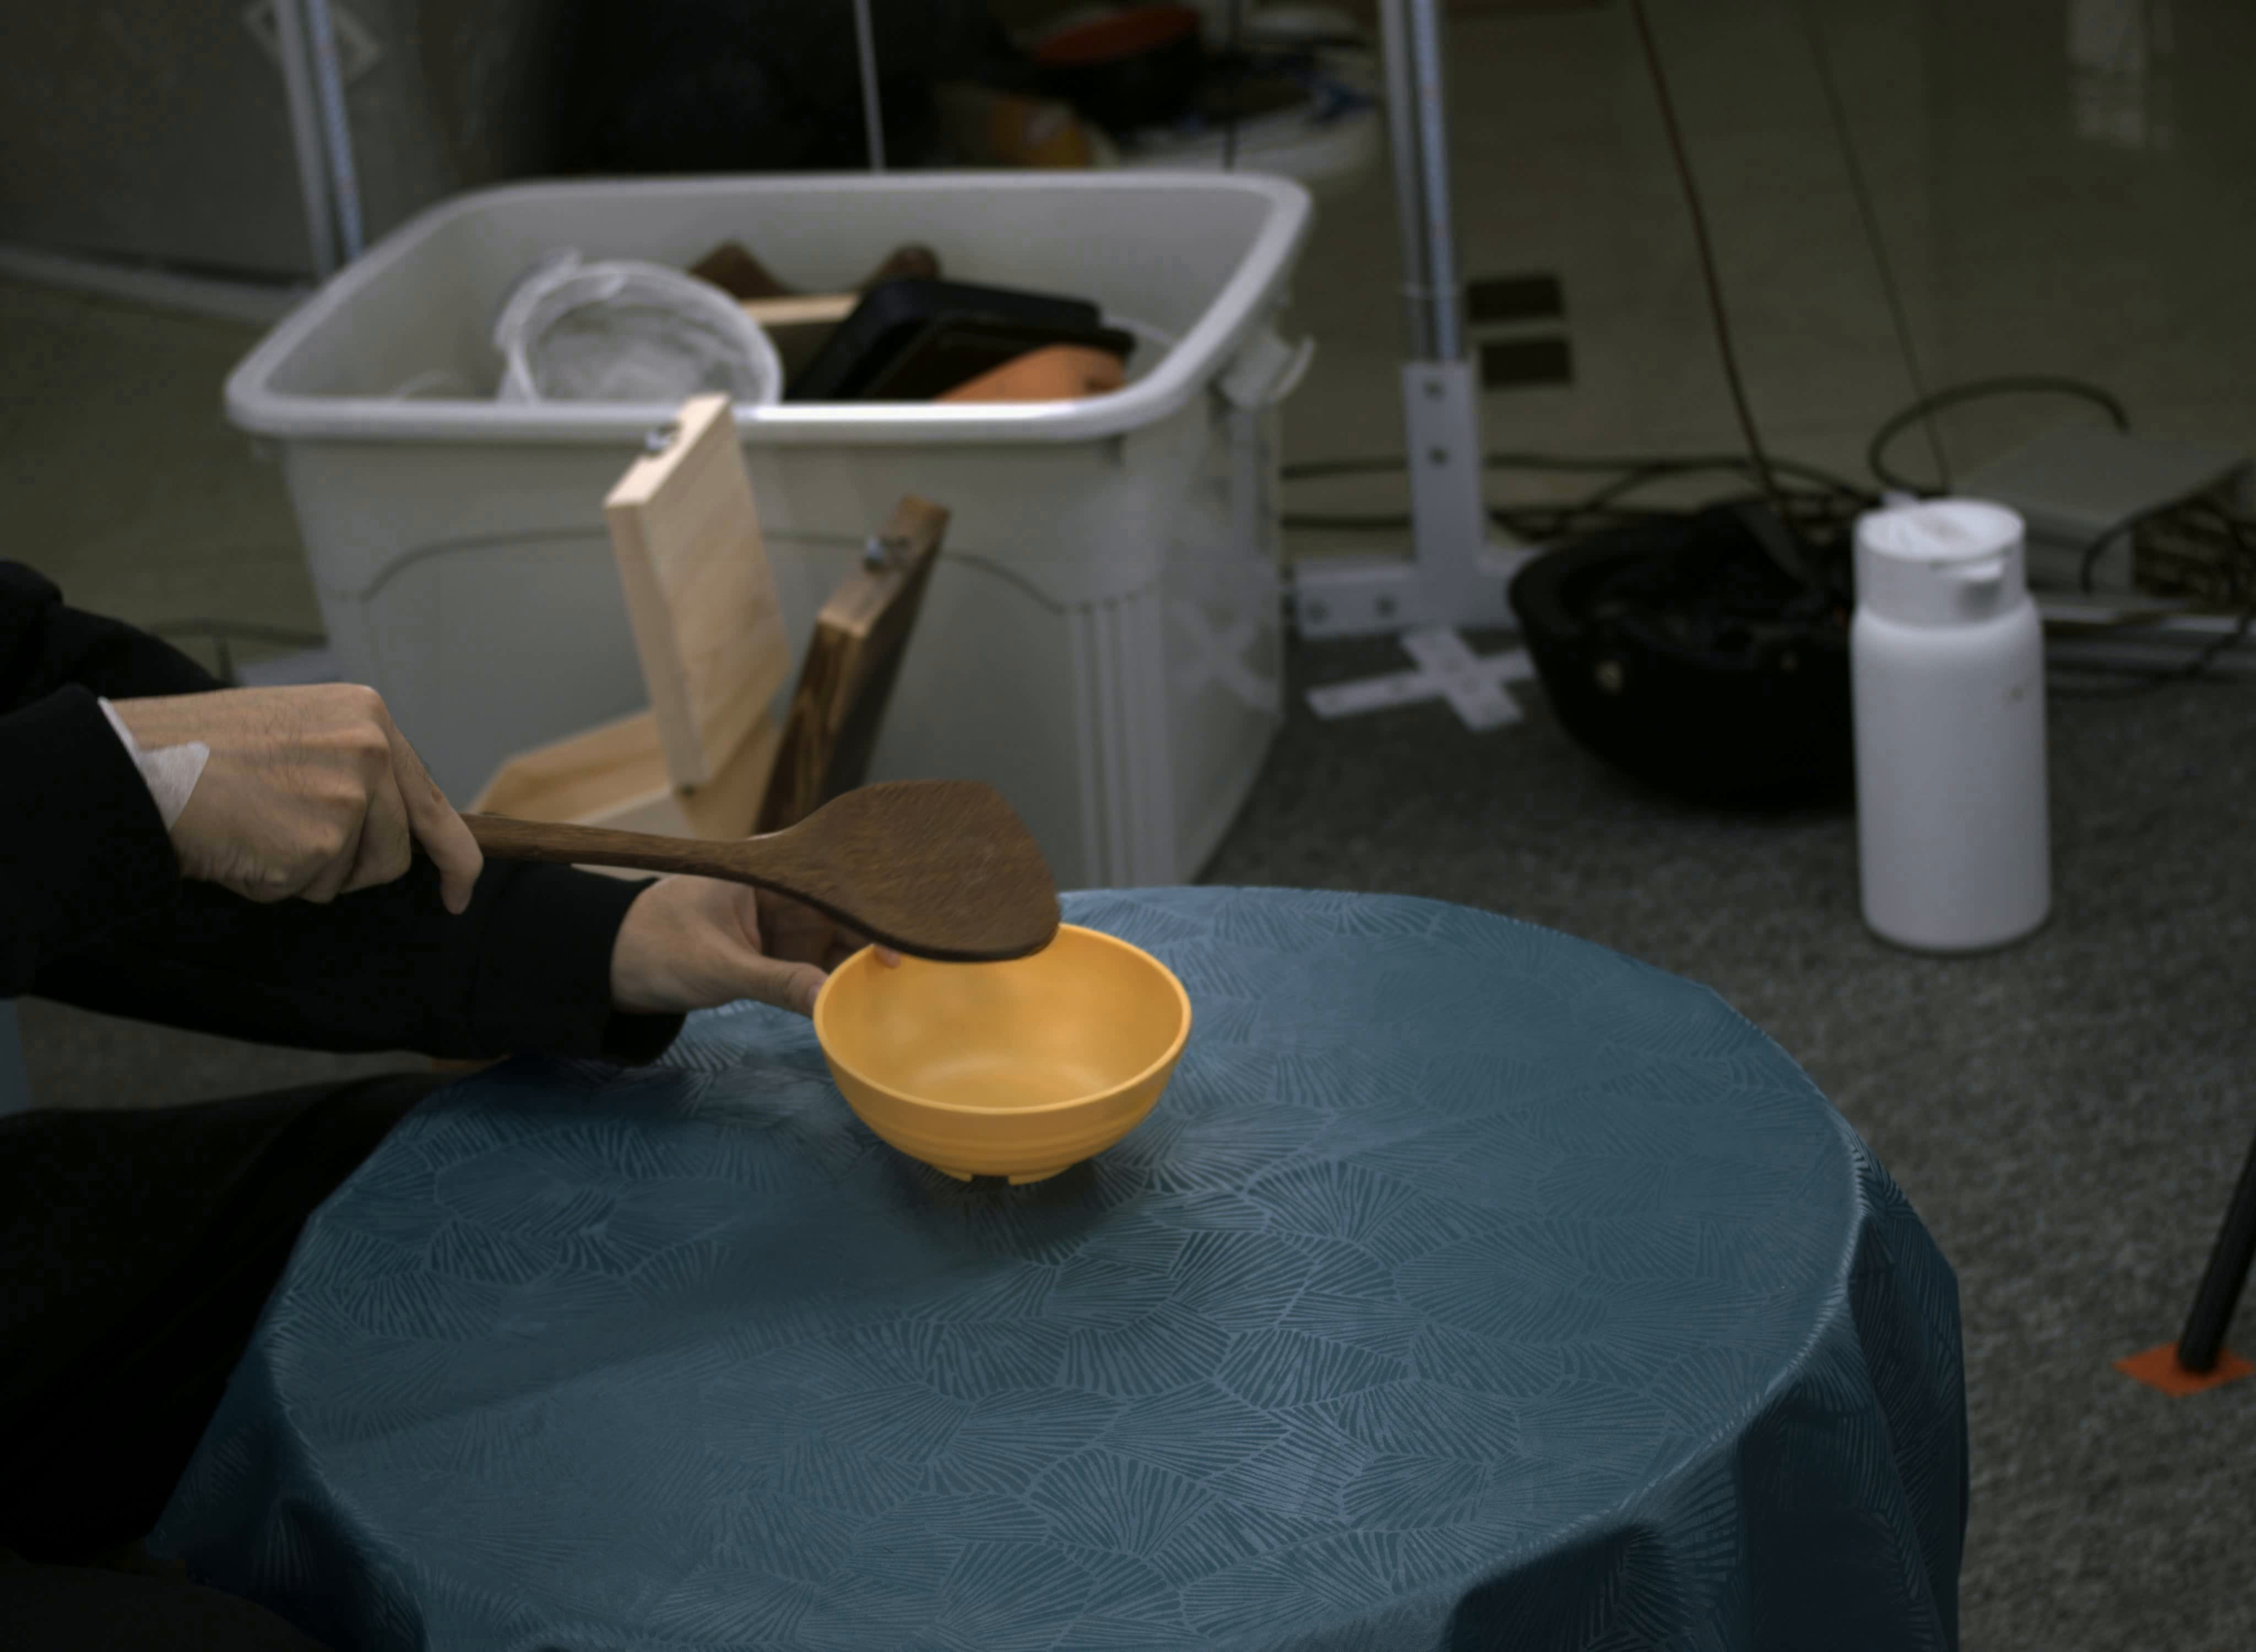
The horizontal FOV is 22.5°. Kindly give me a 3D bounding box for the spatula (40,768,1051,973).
[{"bbox_3d":[-0.203,0.007,2.029,0.386,0.016,0.094,6,41,-29],"label":"spatula"}]

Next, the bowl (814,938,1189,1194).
[{"bbox_3d":[-0.048,0.100,2.174,0.145,0.061,0.143,0,27,0],"label":"bowl"}]
